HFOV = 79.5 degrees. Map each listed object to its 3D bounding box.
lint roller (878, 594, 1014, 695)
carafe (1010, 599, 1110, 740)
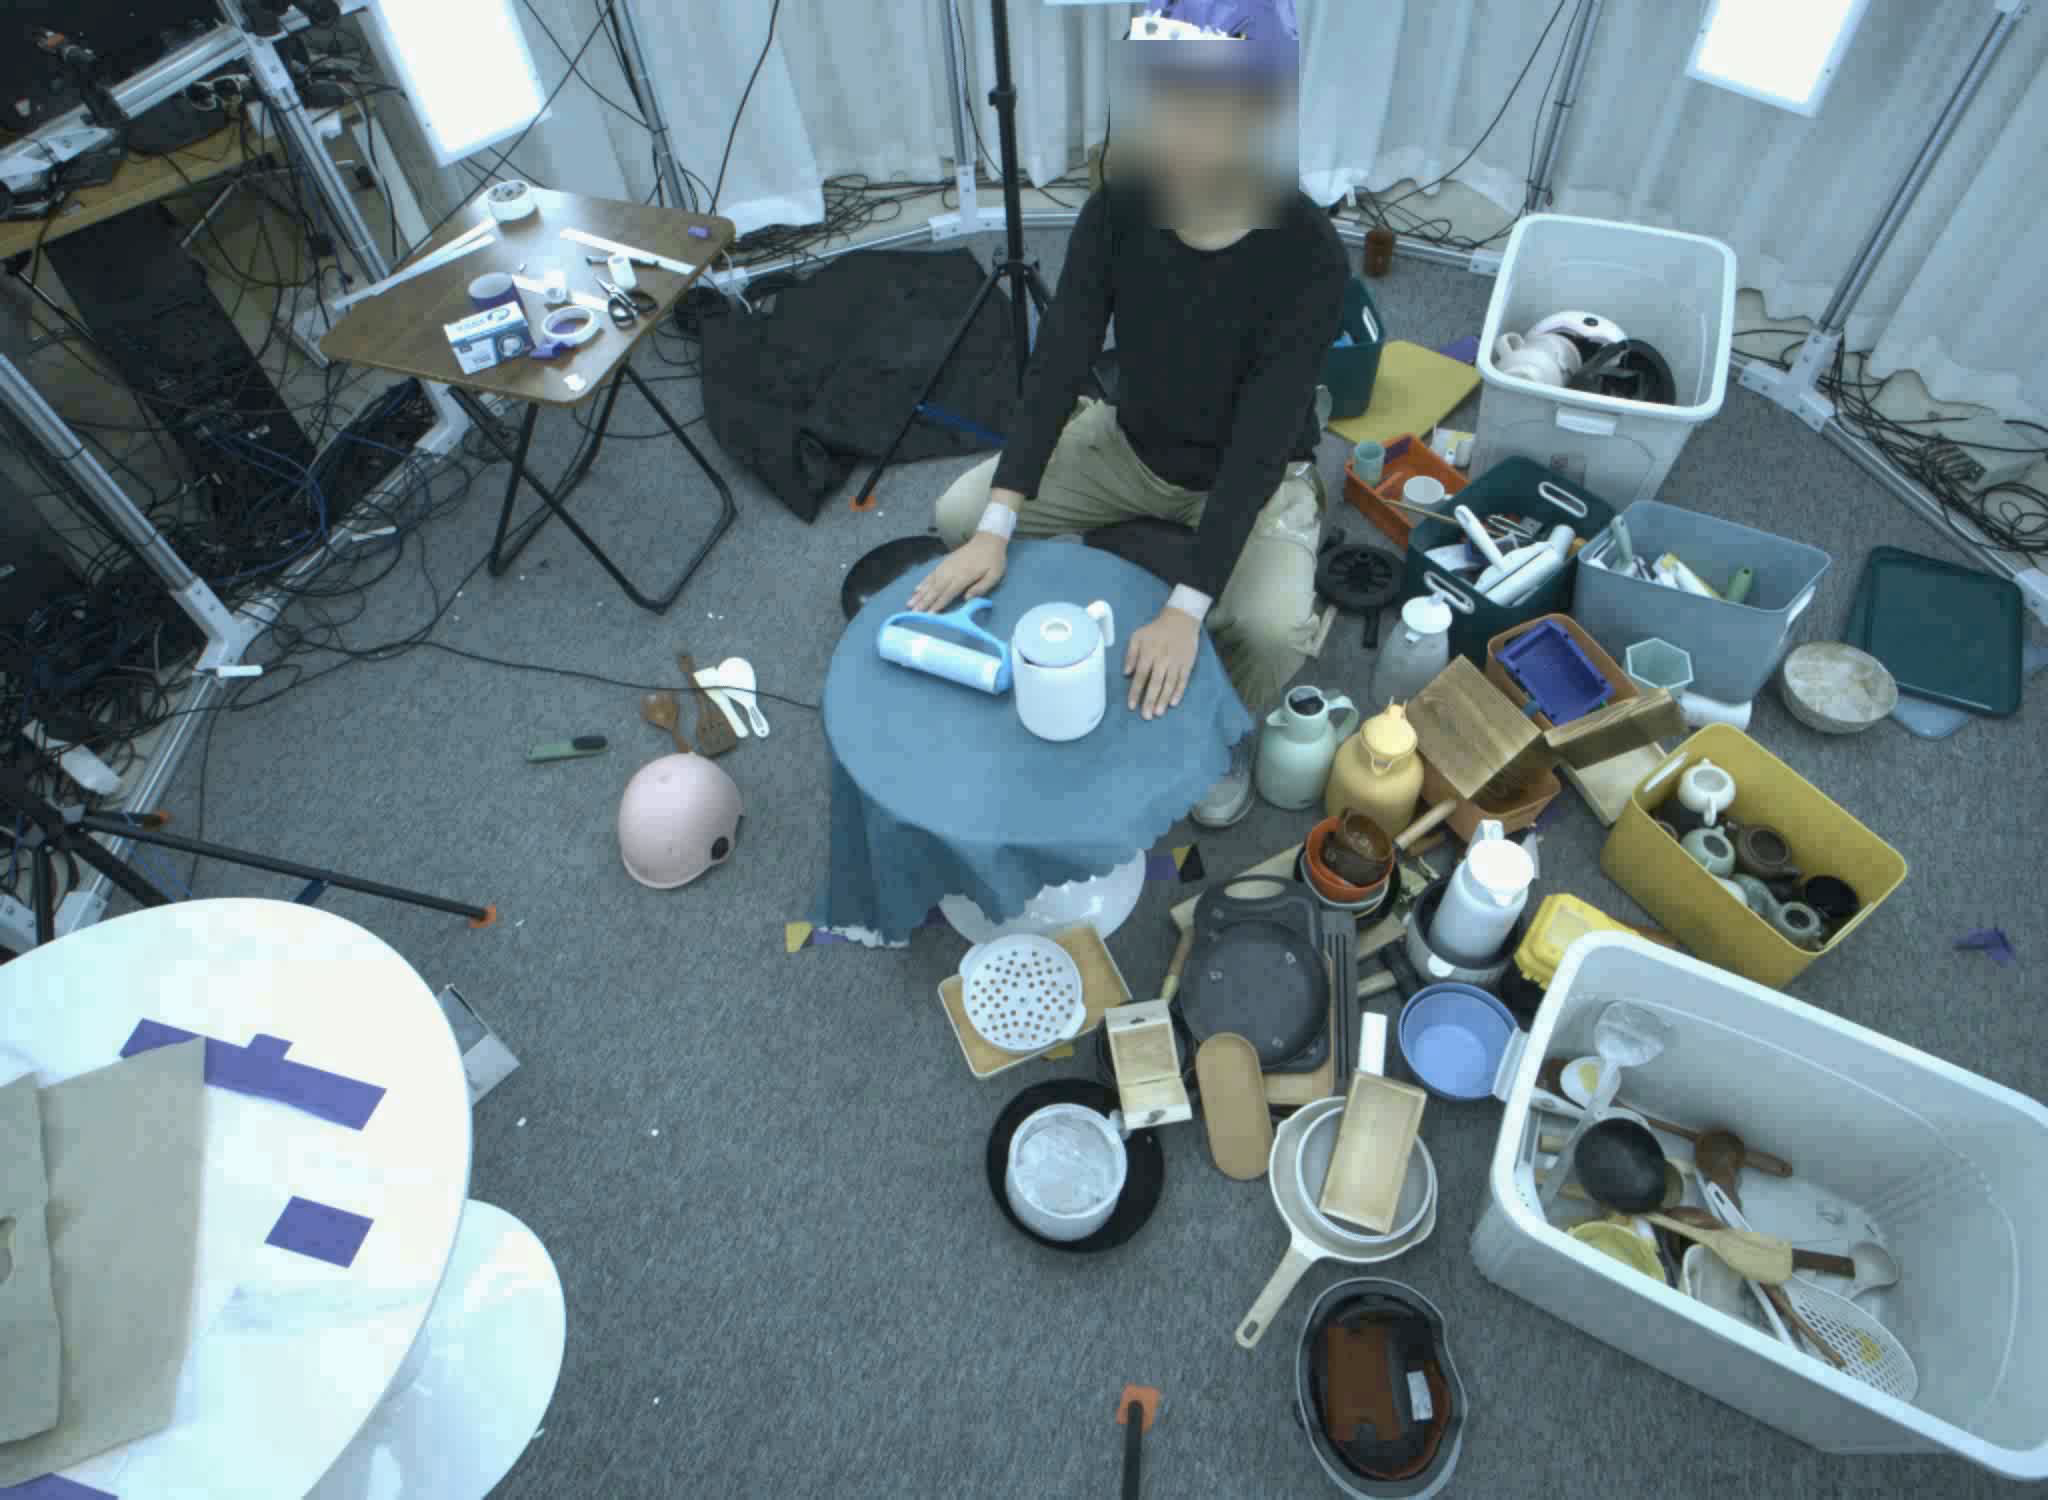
[{"bbox_3d":[-0.098,-0.185,1.885,0.226,0.069,0.180,16,63,17],"label":"lint roller"},{"bbox_3d":[0.065,-0.128,1.770,0.130,0.184,0.192,32,60,23],"label":"carafe"}]
